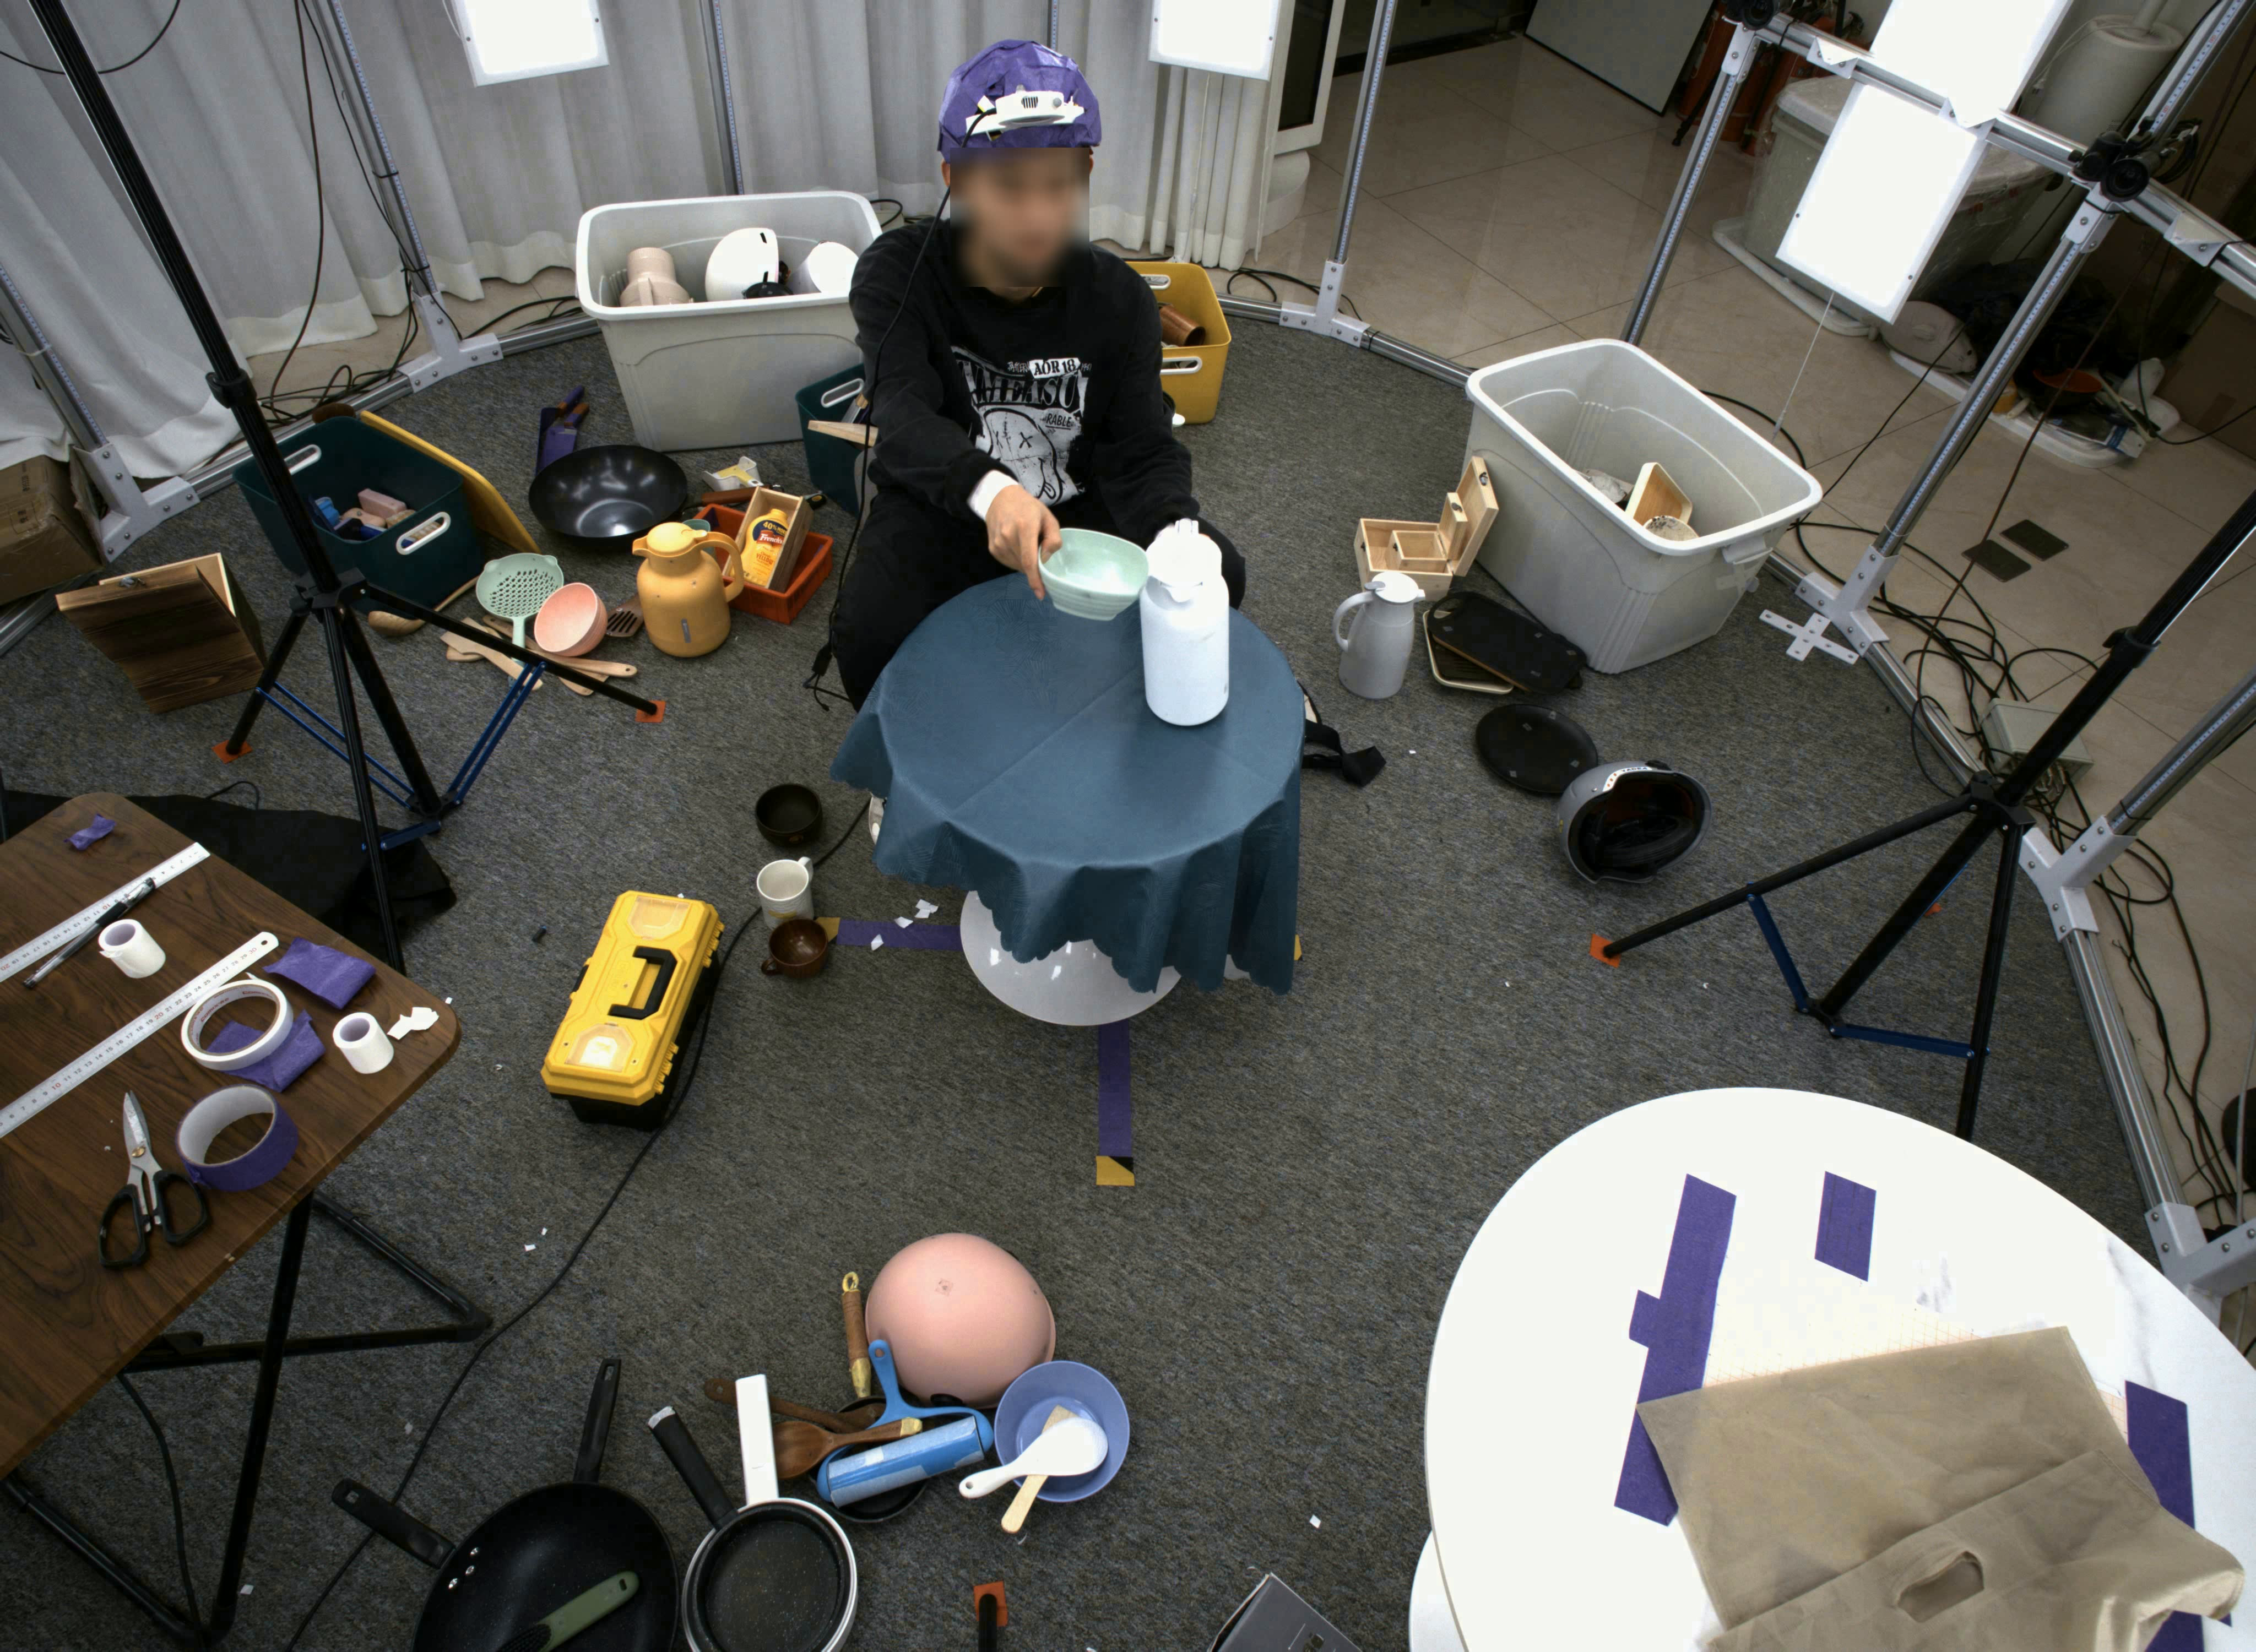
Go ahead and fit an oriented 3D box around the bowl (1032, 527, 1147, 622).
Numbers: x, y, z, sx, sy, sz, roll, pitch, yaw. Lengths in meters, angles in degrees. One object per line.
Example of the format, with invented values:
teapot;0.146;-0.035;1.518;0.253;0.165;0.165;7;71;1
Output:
bowl;-0.050;-0.299;1.564;0.151;0.057;0.155;8;42;-7

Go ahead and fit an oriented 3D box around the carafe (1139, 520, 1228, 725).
carafe;0.076;-0.276;1.733;0.124;0.262;0.177;-1;53;6
